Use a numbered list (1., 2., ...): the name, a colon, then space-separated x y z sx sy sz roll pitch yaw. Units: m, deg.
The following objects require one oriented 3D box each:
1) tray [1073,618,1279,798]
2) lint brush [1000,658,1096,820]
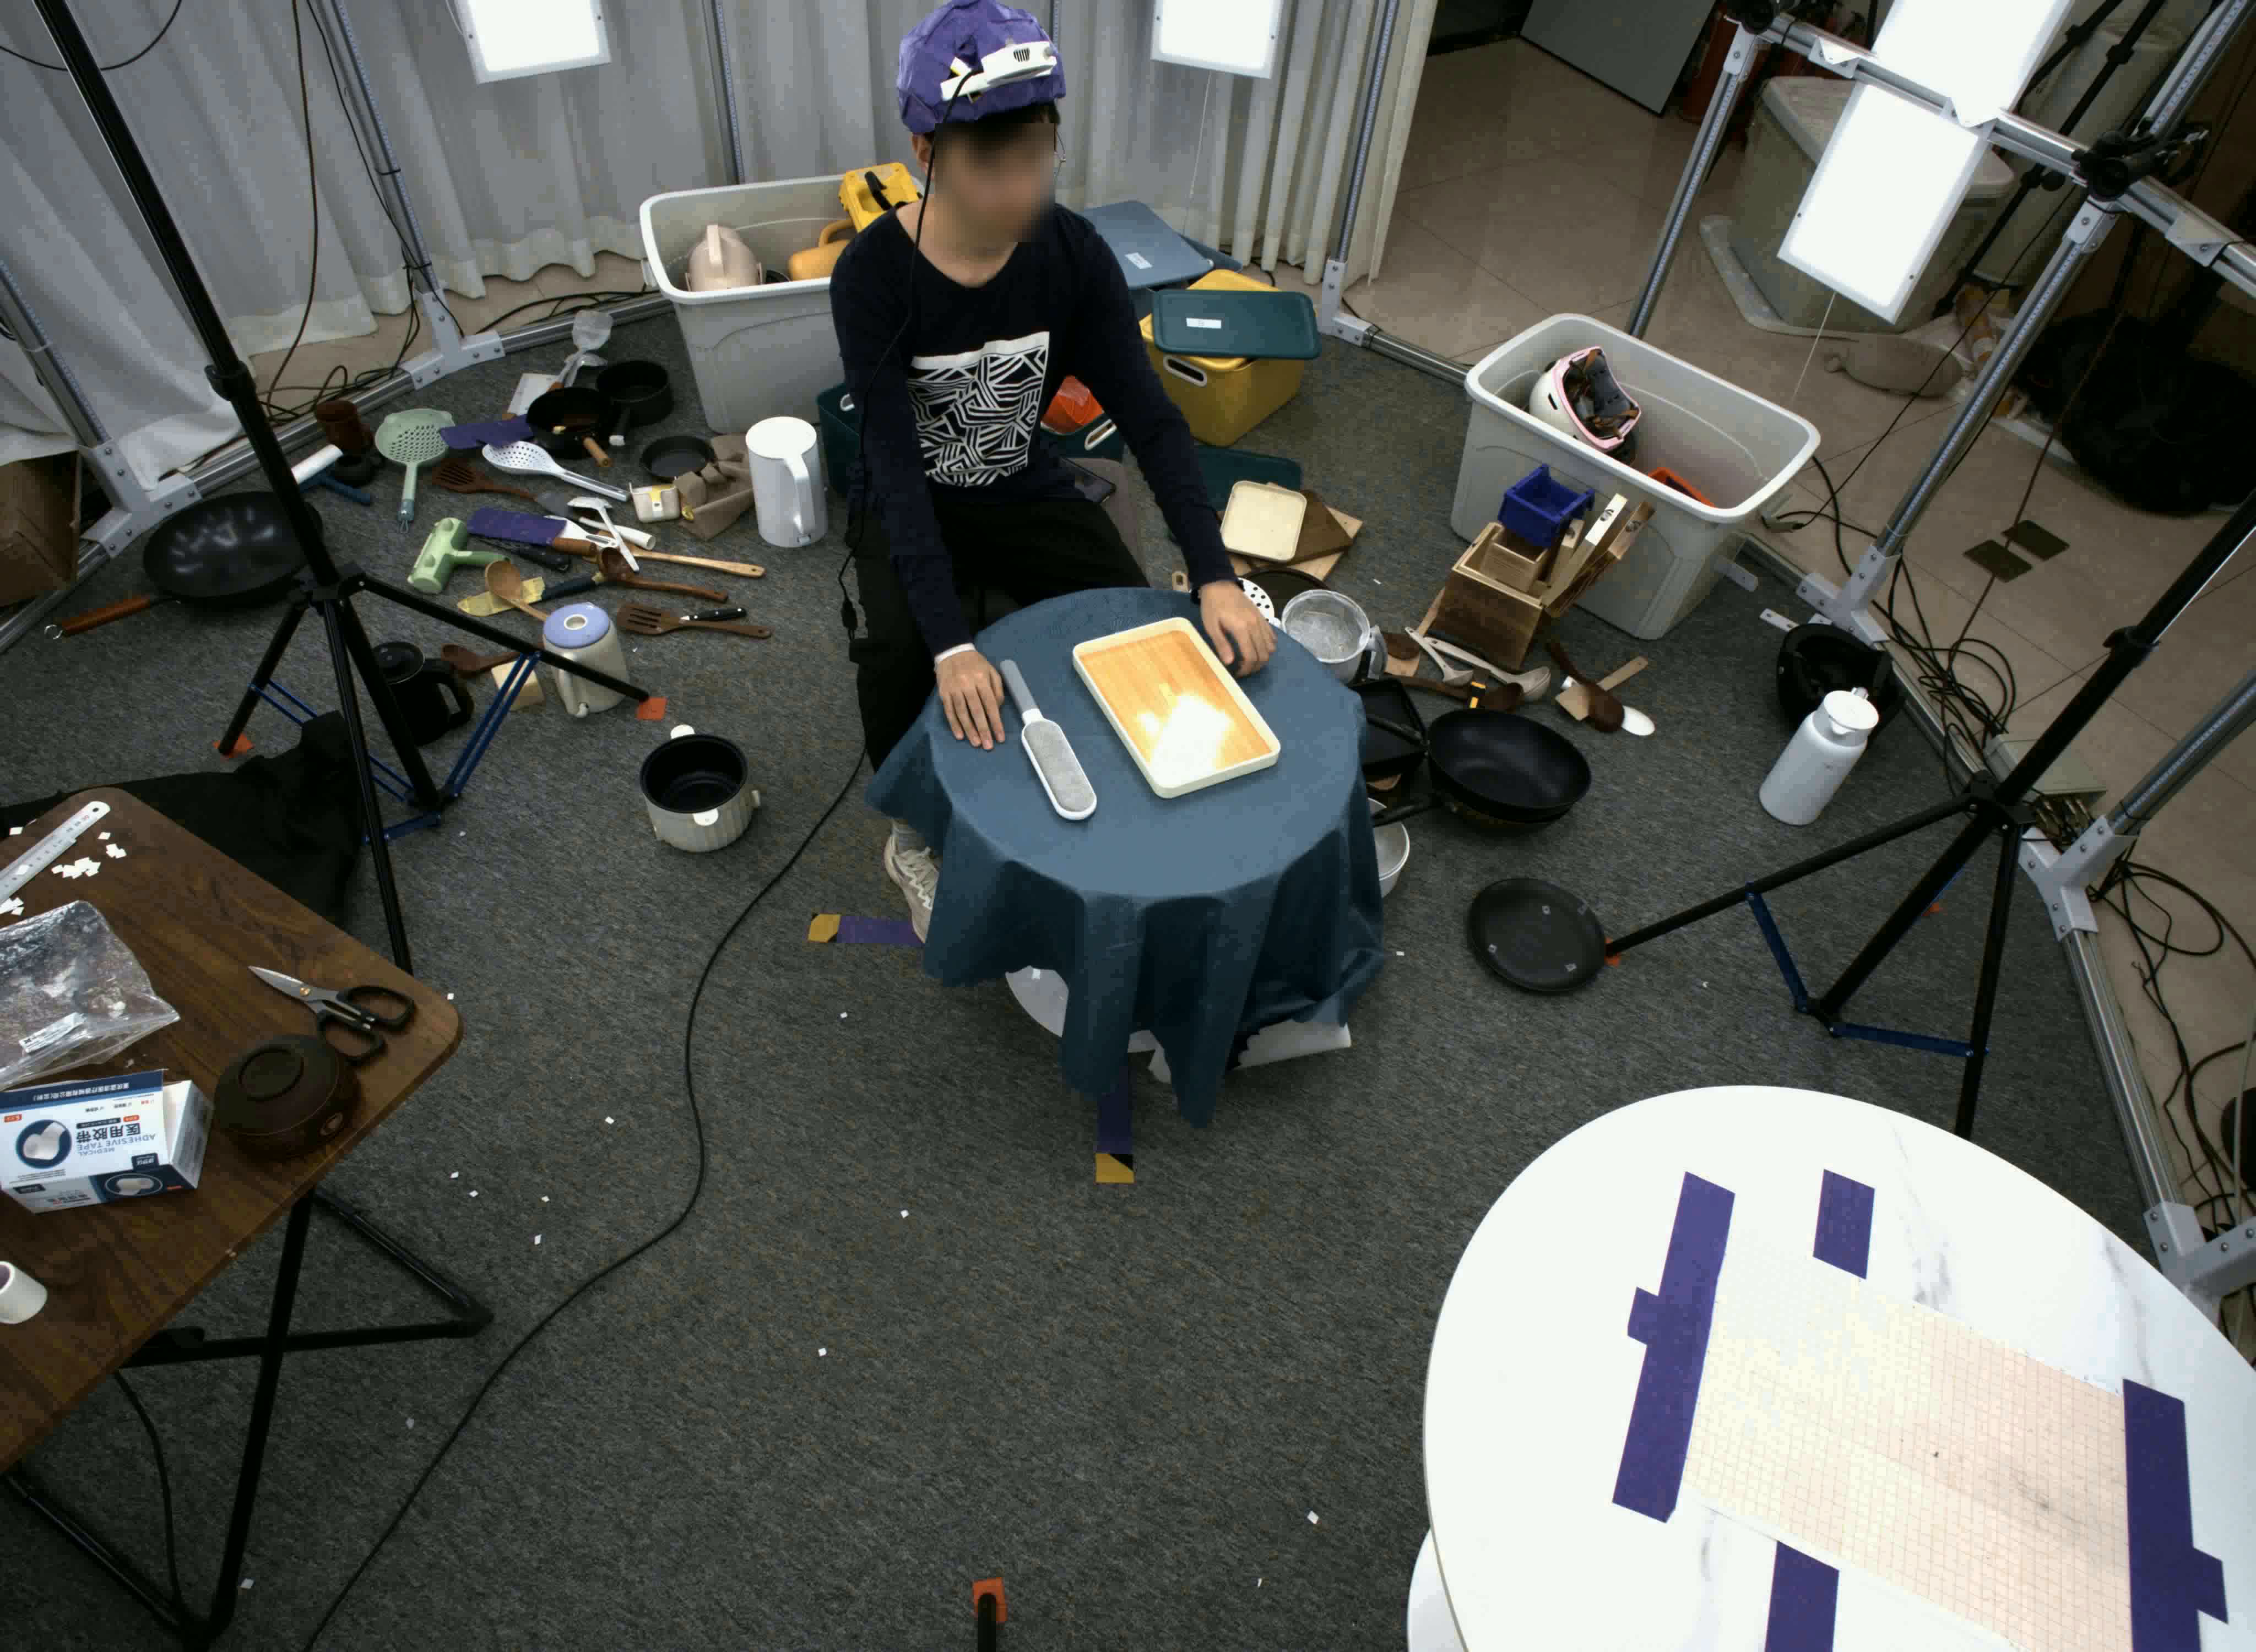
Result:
1. tray: 0.063 -0.173 1.805 0.192 0.027 0.307 -17 52 -18
2. lint brush: -0.116 -0.125 1.751 0.060 0.020 0.316 -18 52 -12
